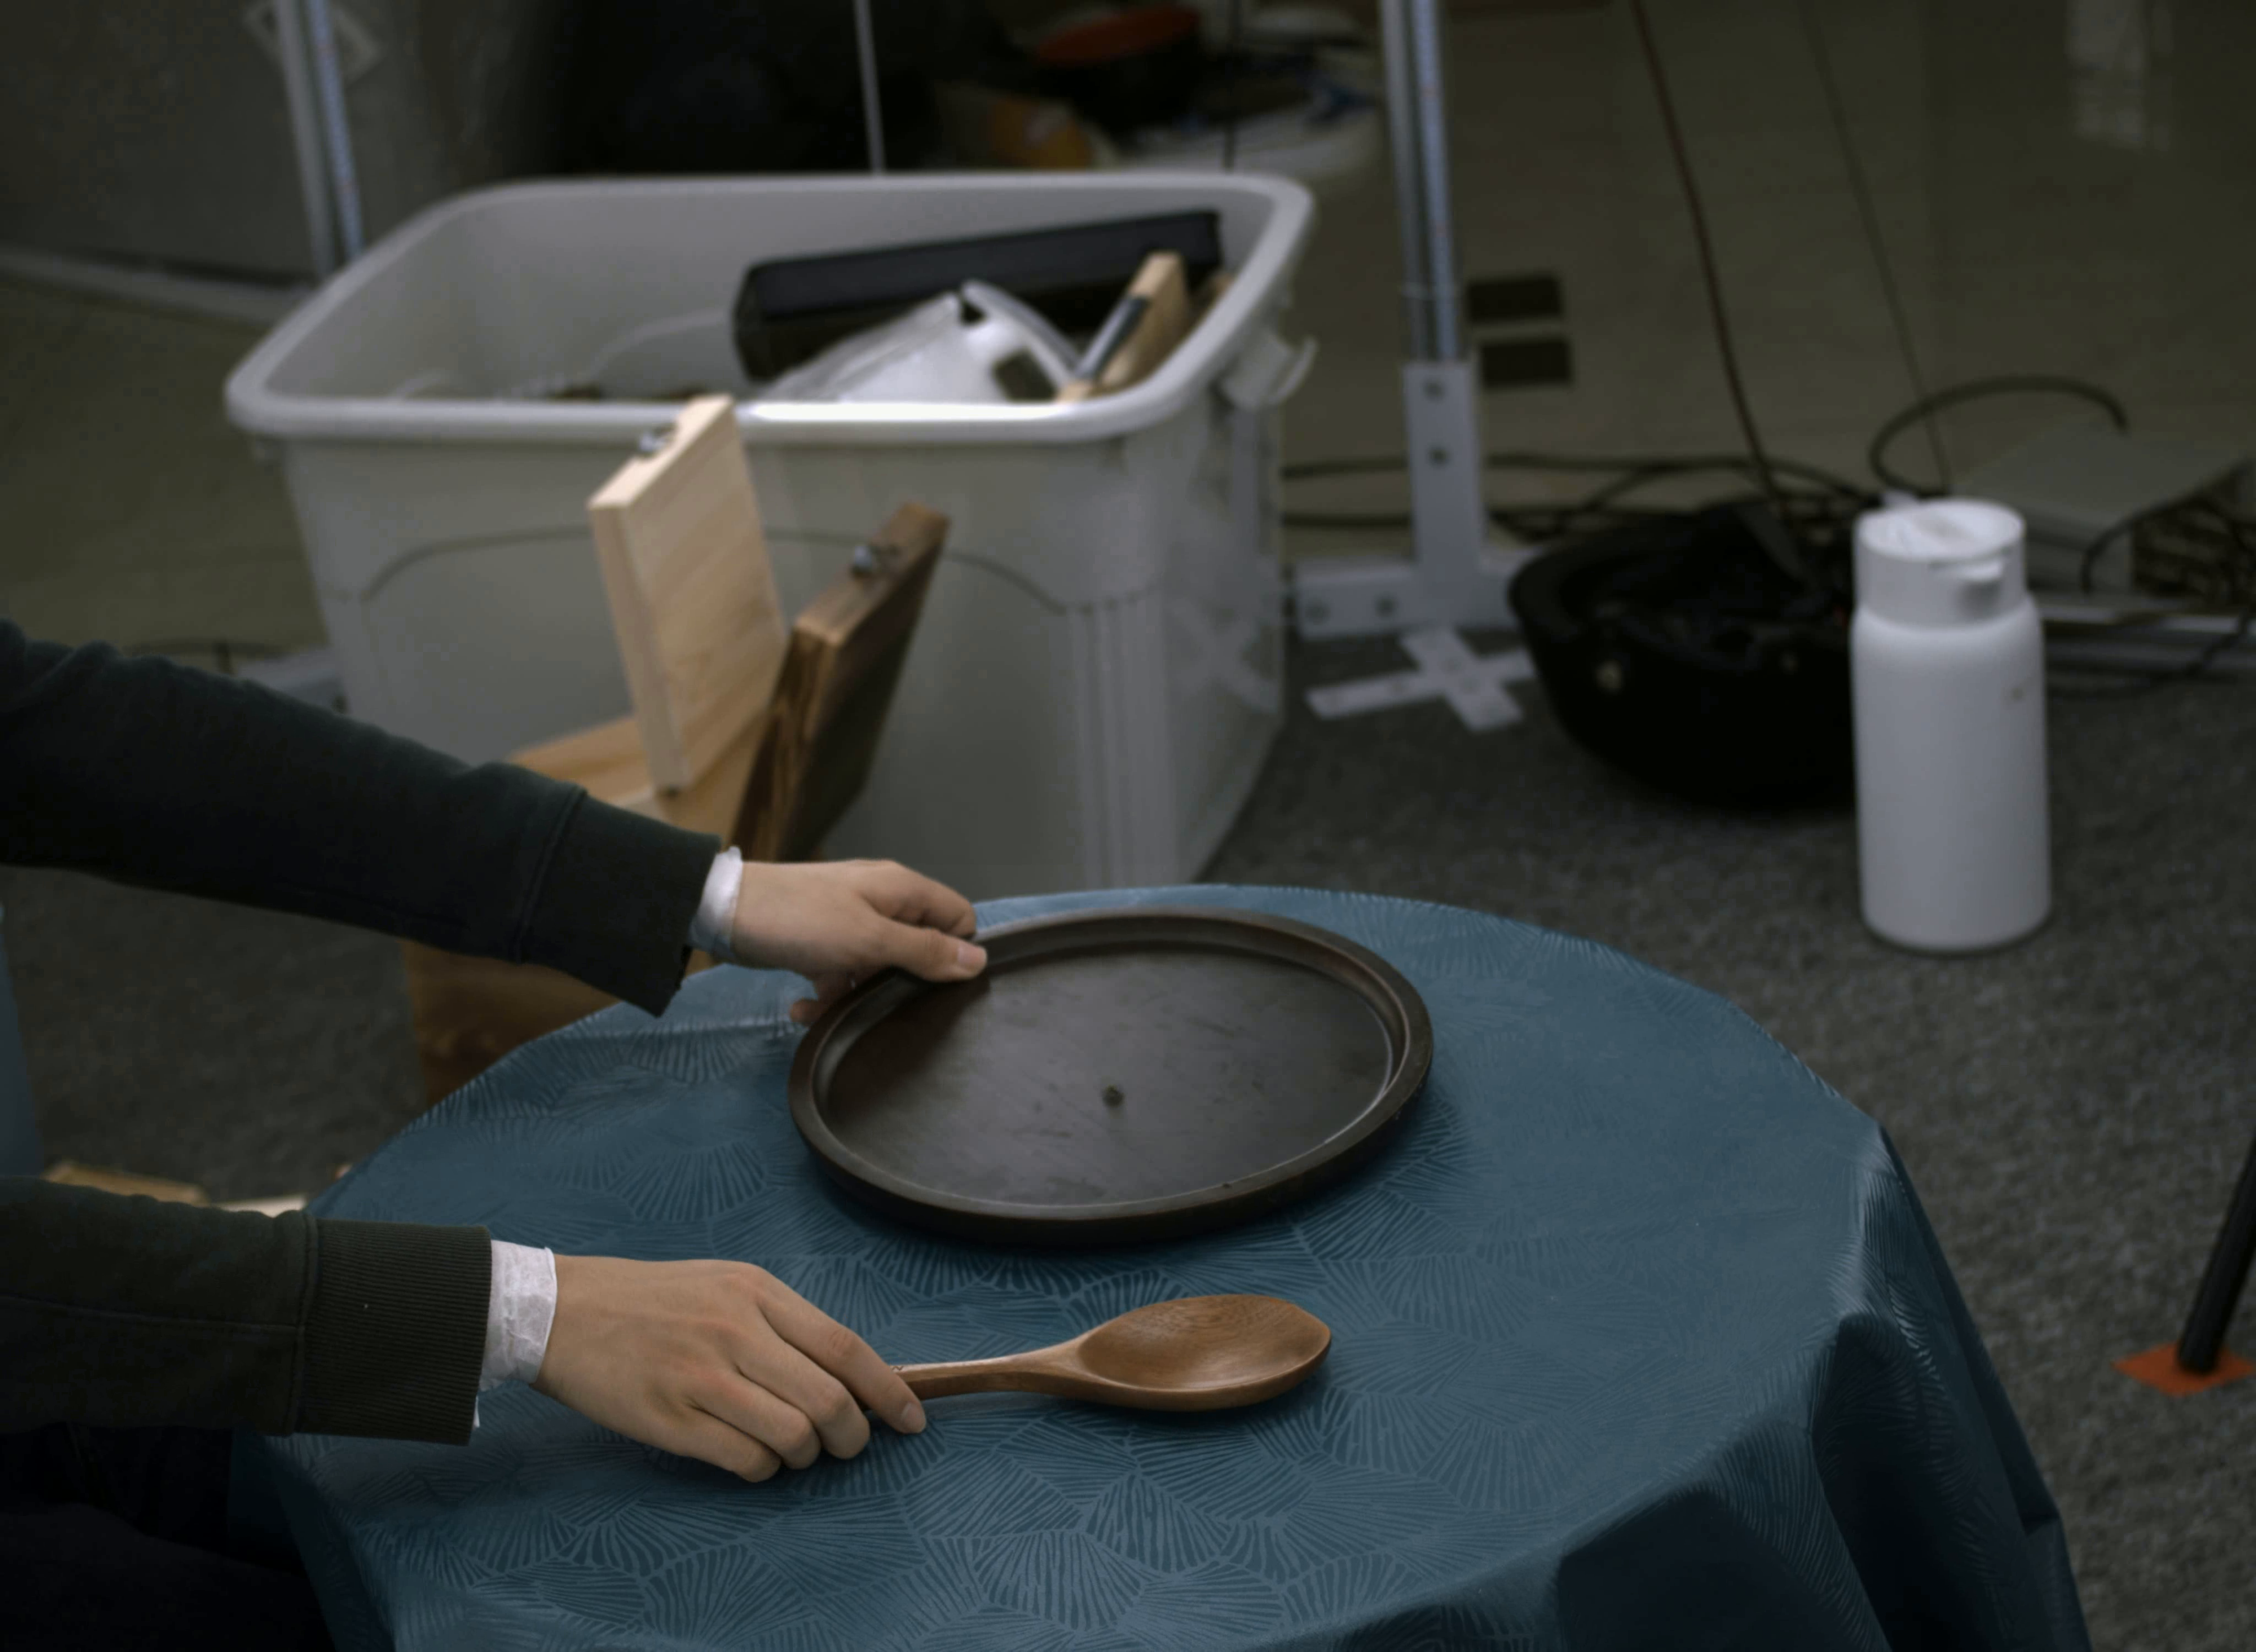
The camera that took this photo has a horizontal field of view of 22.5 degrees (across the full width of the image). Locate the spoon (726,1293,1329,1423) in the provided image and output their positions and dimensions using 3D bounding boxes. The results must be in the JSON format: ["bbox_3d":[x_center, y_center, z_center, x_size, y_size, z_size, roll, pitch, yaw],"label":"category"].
[{"bbox_3d":[-0.035,0.195,2.018,0.215,0.017,0.074,-5,24,1],"label":"spoon"}]

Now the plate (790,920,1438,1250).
[{"bbox_3d":[-0.006,0.099,2.208,0.254,0.029,0.251,-3,26,2],"label":"plate"}]
